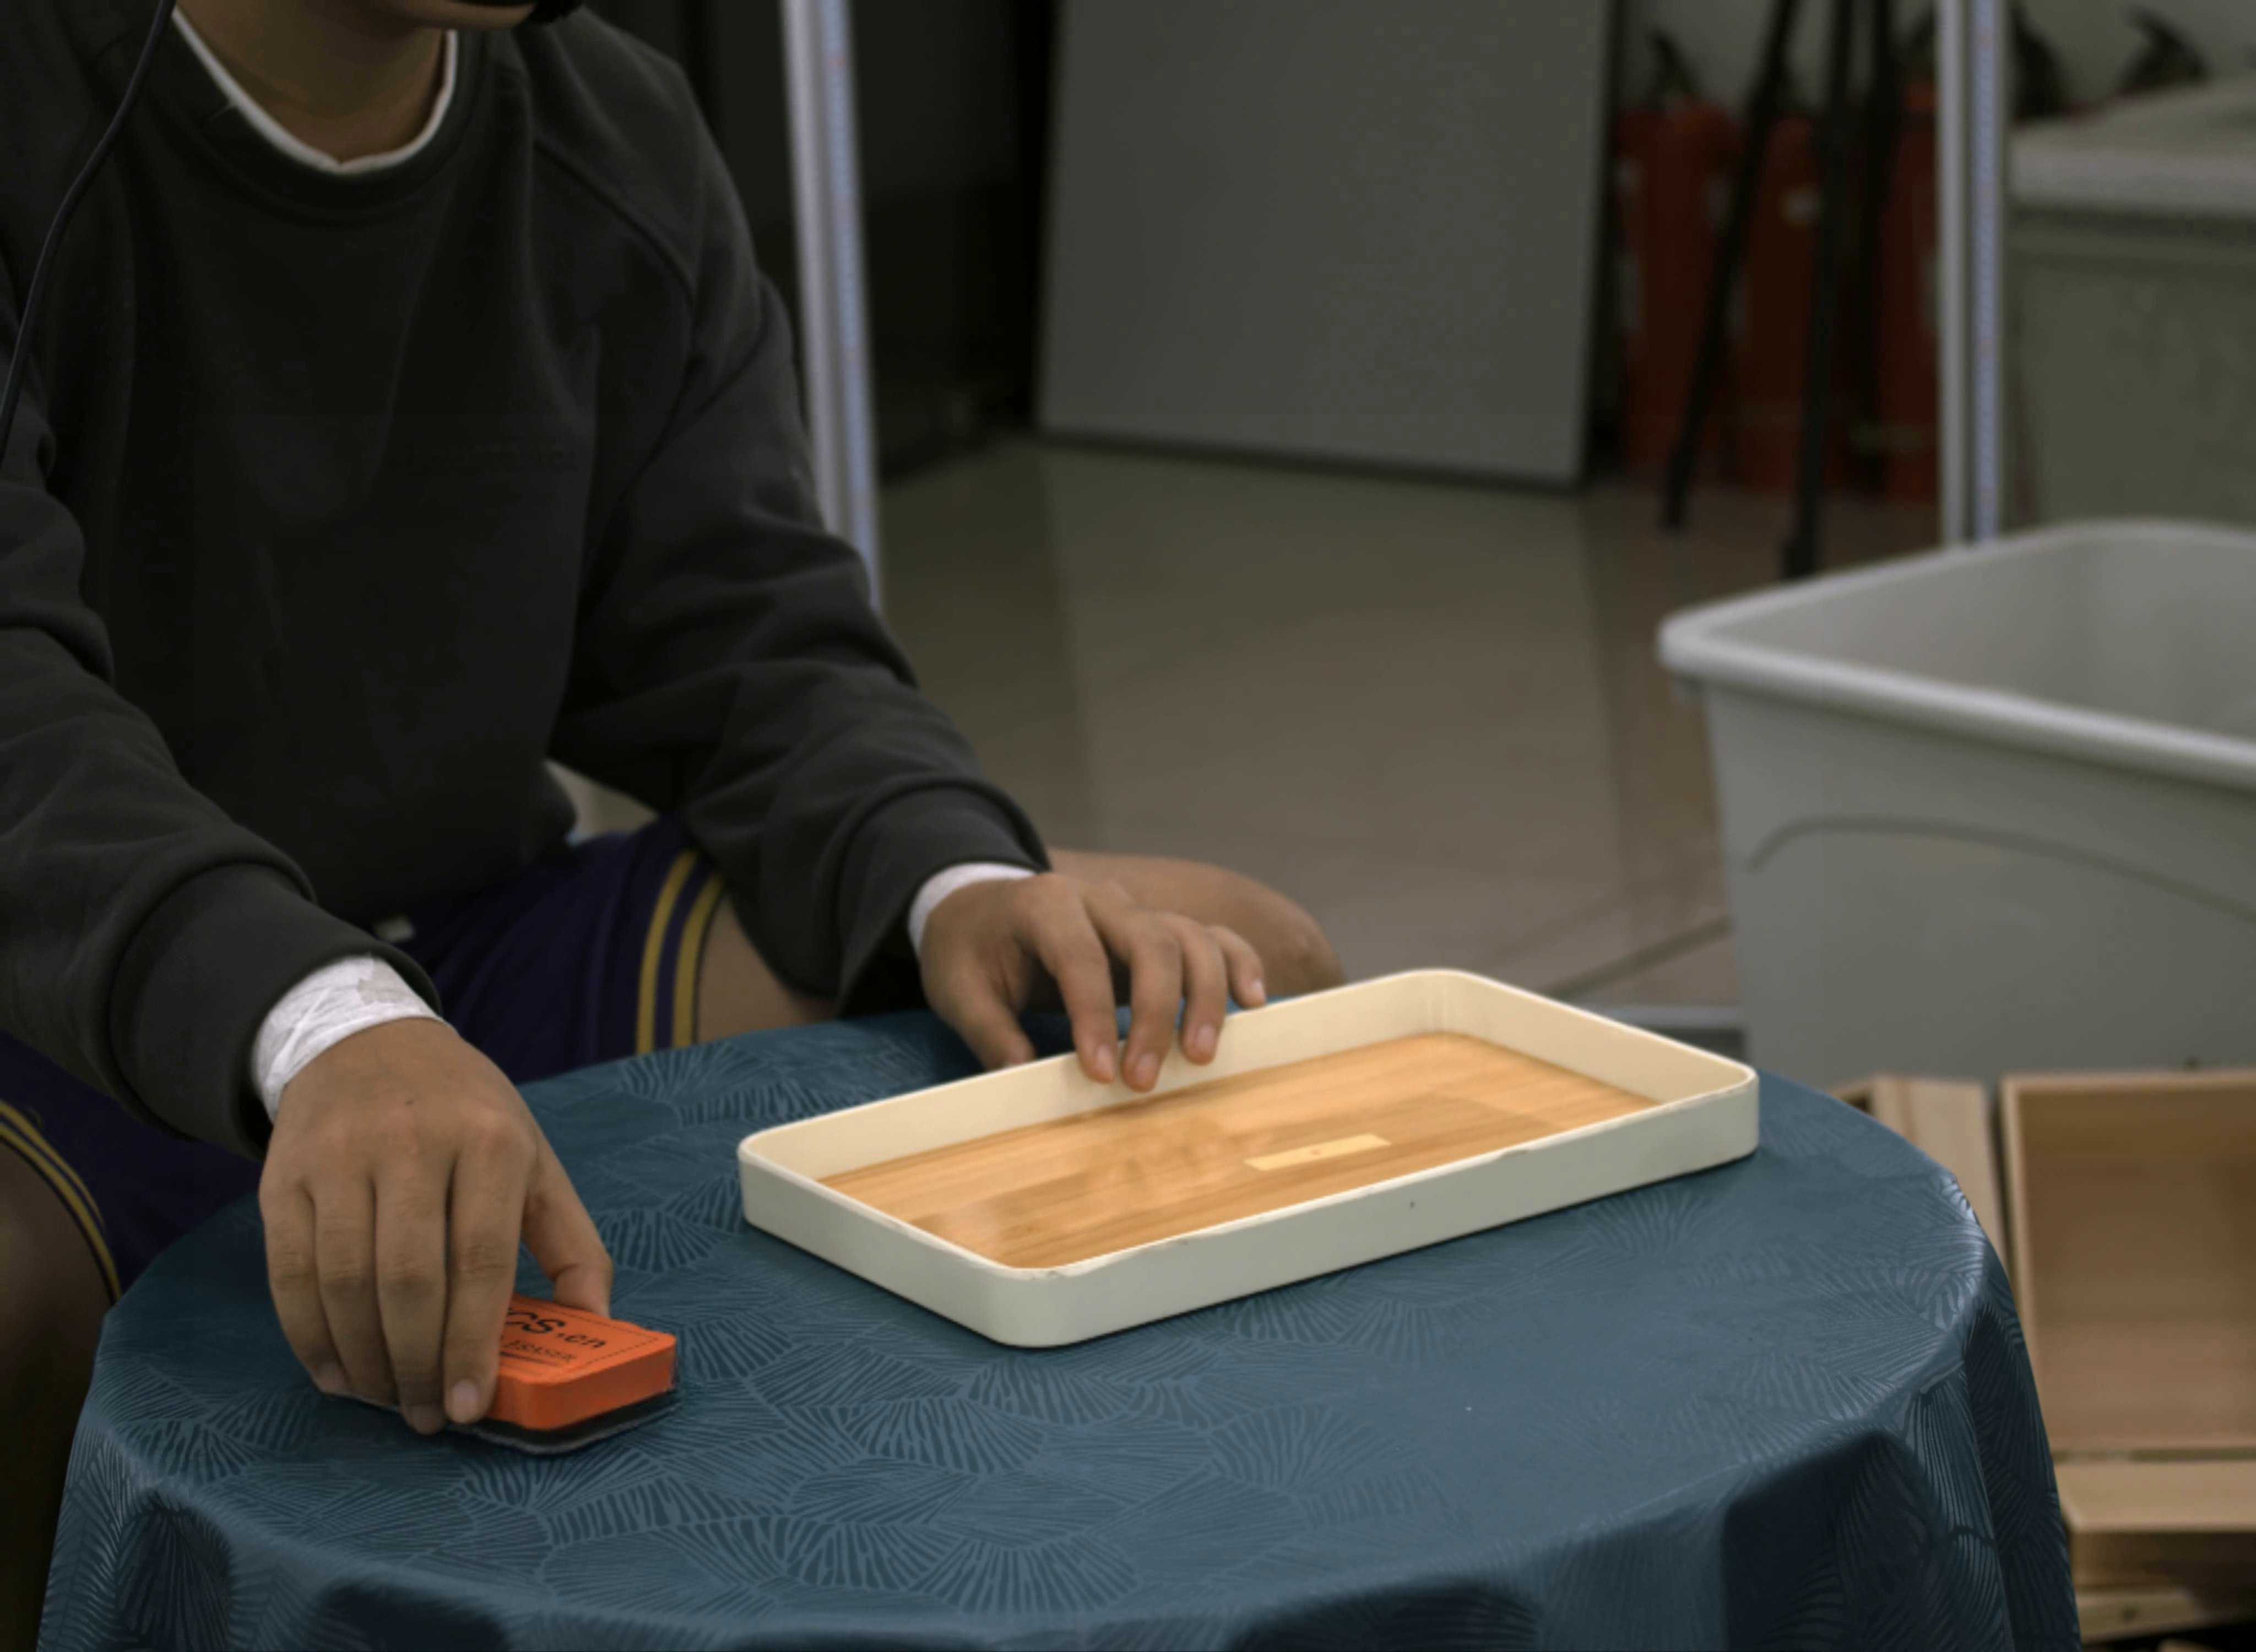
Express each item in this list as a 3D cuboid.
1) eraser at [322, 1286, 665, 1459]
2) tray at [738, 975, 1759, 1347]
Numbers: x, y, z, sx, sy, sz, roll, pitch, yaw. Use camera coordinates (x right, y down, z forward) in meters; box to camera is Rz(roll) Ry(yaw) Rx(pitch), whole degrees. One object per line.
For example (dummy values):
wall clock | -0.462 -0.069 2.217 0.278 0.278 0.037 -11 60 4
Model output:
eraser | -0.189 0.162 1.608 0.058 0.023 0.109 -15 16 -40
tray | 0.041 0.106 1.764 0.293 0.028 0.193 -12 16 -30
